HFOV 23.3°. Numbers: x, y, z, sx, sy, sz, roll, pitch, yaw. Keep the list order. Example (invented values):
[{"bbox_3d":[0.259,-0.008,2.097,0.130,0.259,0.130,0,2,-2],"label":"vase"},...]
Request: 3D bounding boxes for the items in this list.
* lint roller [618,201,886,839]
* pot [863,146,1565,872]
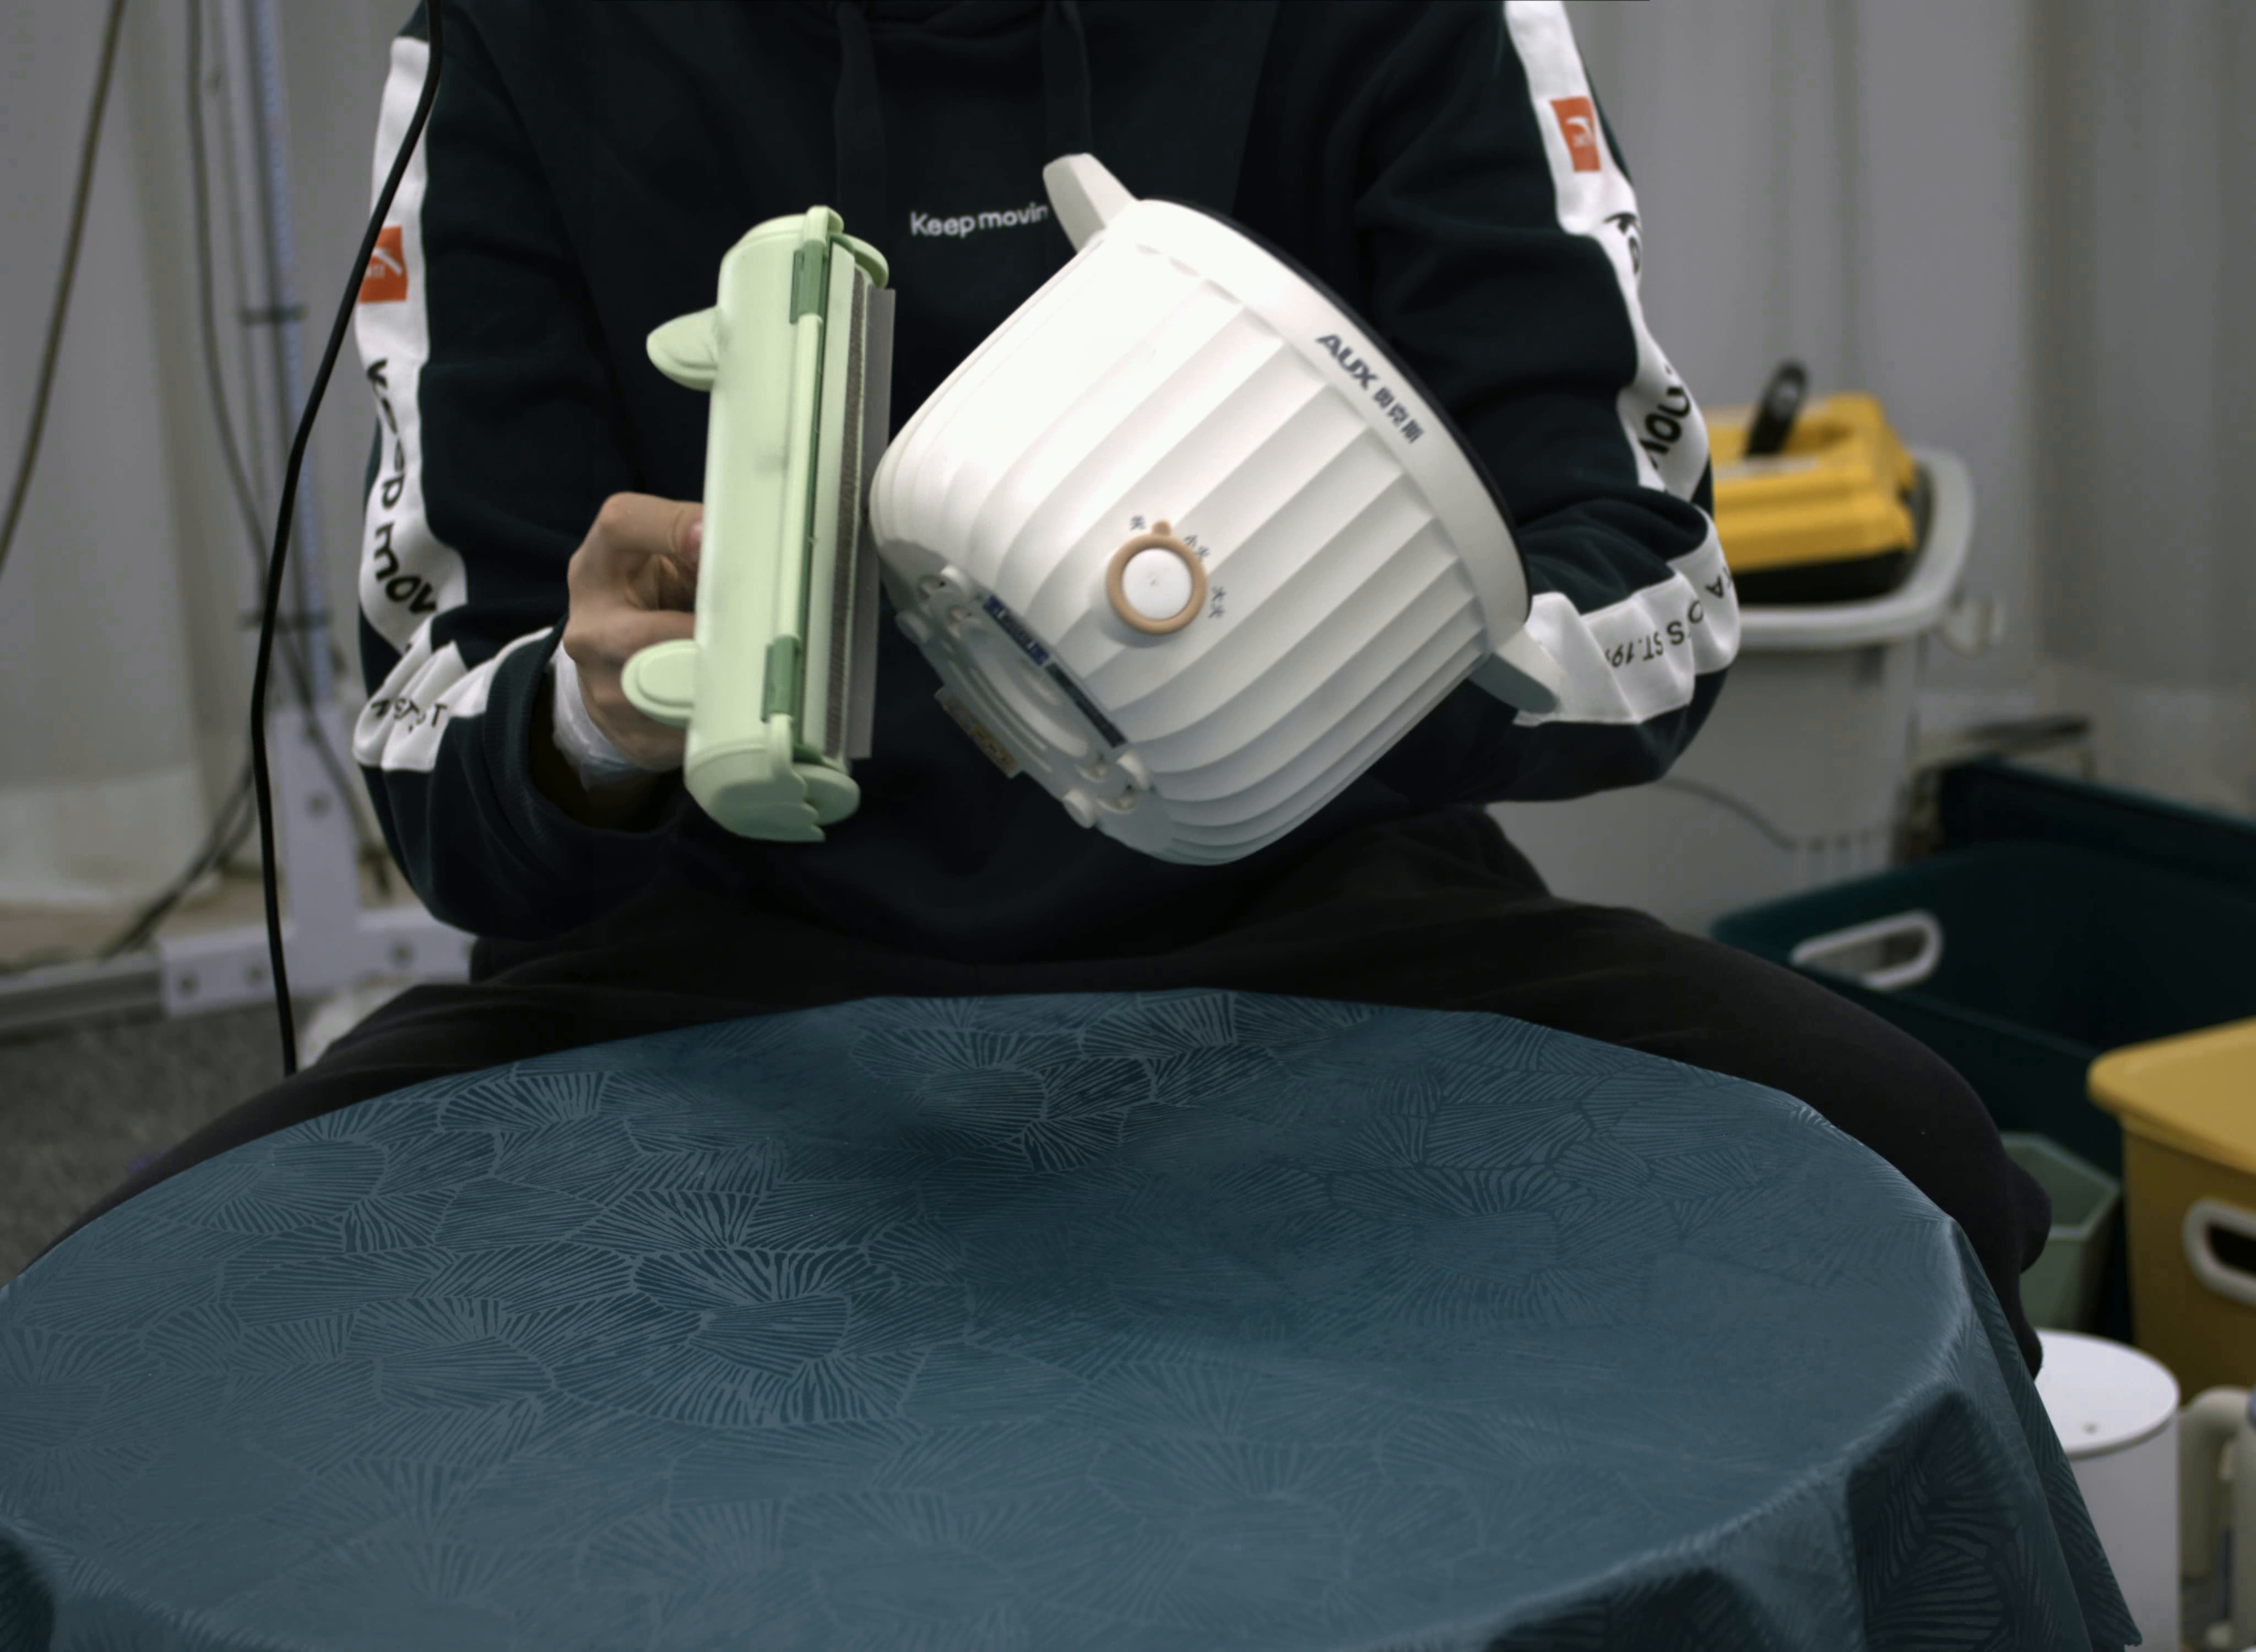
[{"bbox_3d":[-0.136,-0.078,1.746,0.081,0.201,0.182,12,-25,-22],"label":"lint roller"},{"bbox_3d":[0.014,-0.081,1.694,0.143,0.240,0.190,-44,3,-18],"label":"pot"}]
